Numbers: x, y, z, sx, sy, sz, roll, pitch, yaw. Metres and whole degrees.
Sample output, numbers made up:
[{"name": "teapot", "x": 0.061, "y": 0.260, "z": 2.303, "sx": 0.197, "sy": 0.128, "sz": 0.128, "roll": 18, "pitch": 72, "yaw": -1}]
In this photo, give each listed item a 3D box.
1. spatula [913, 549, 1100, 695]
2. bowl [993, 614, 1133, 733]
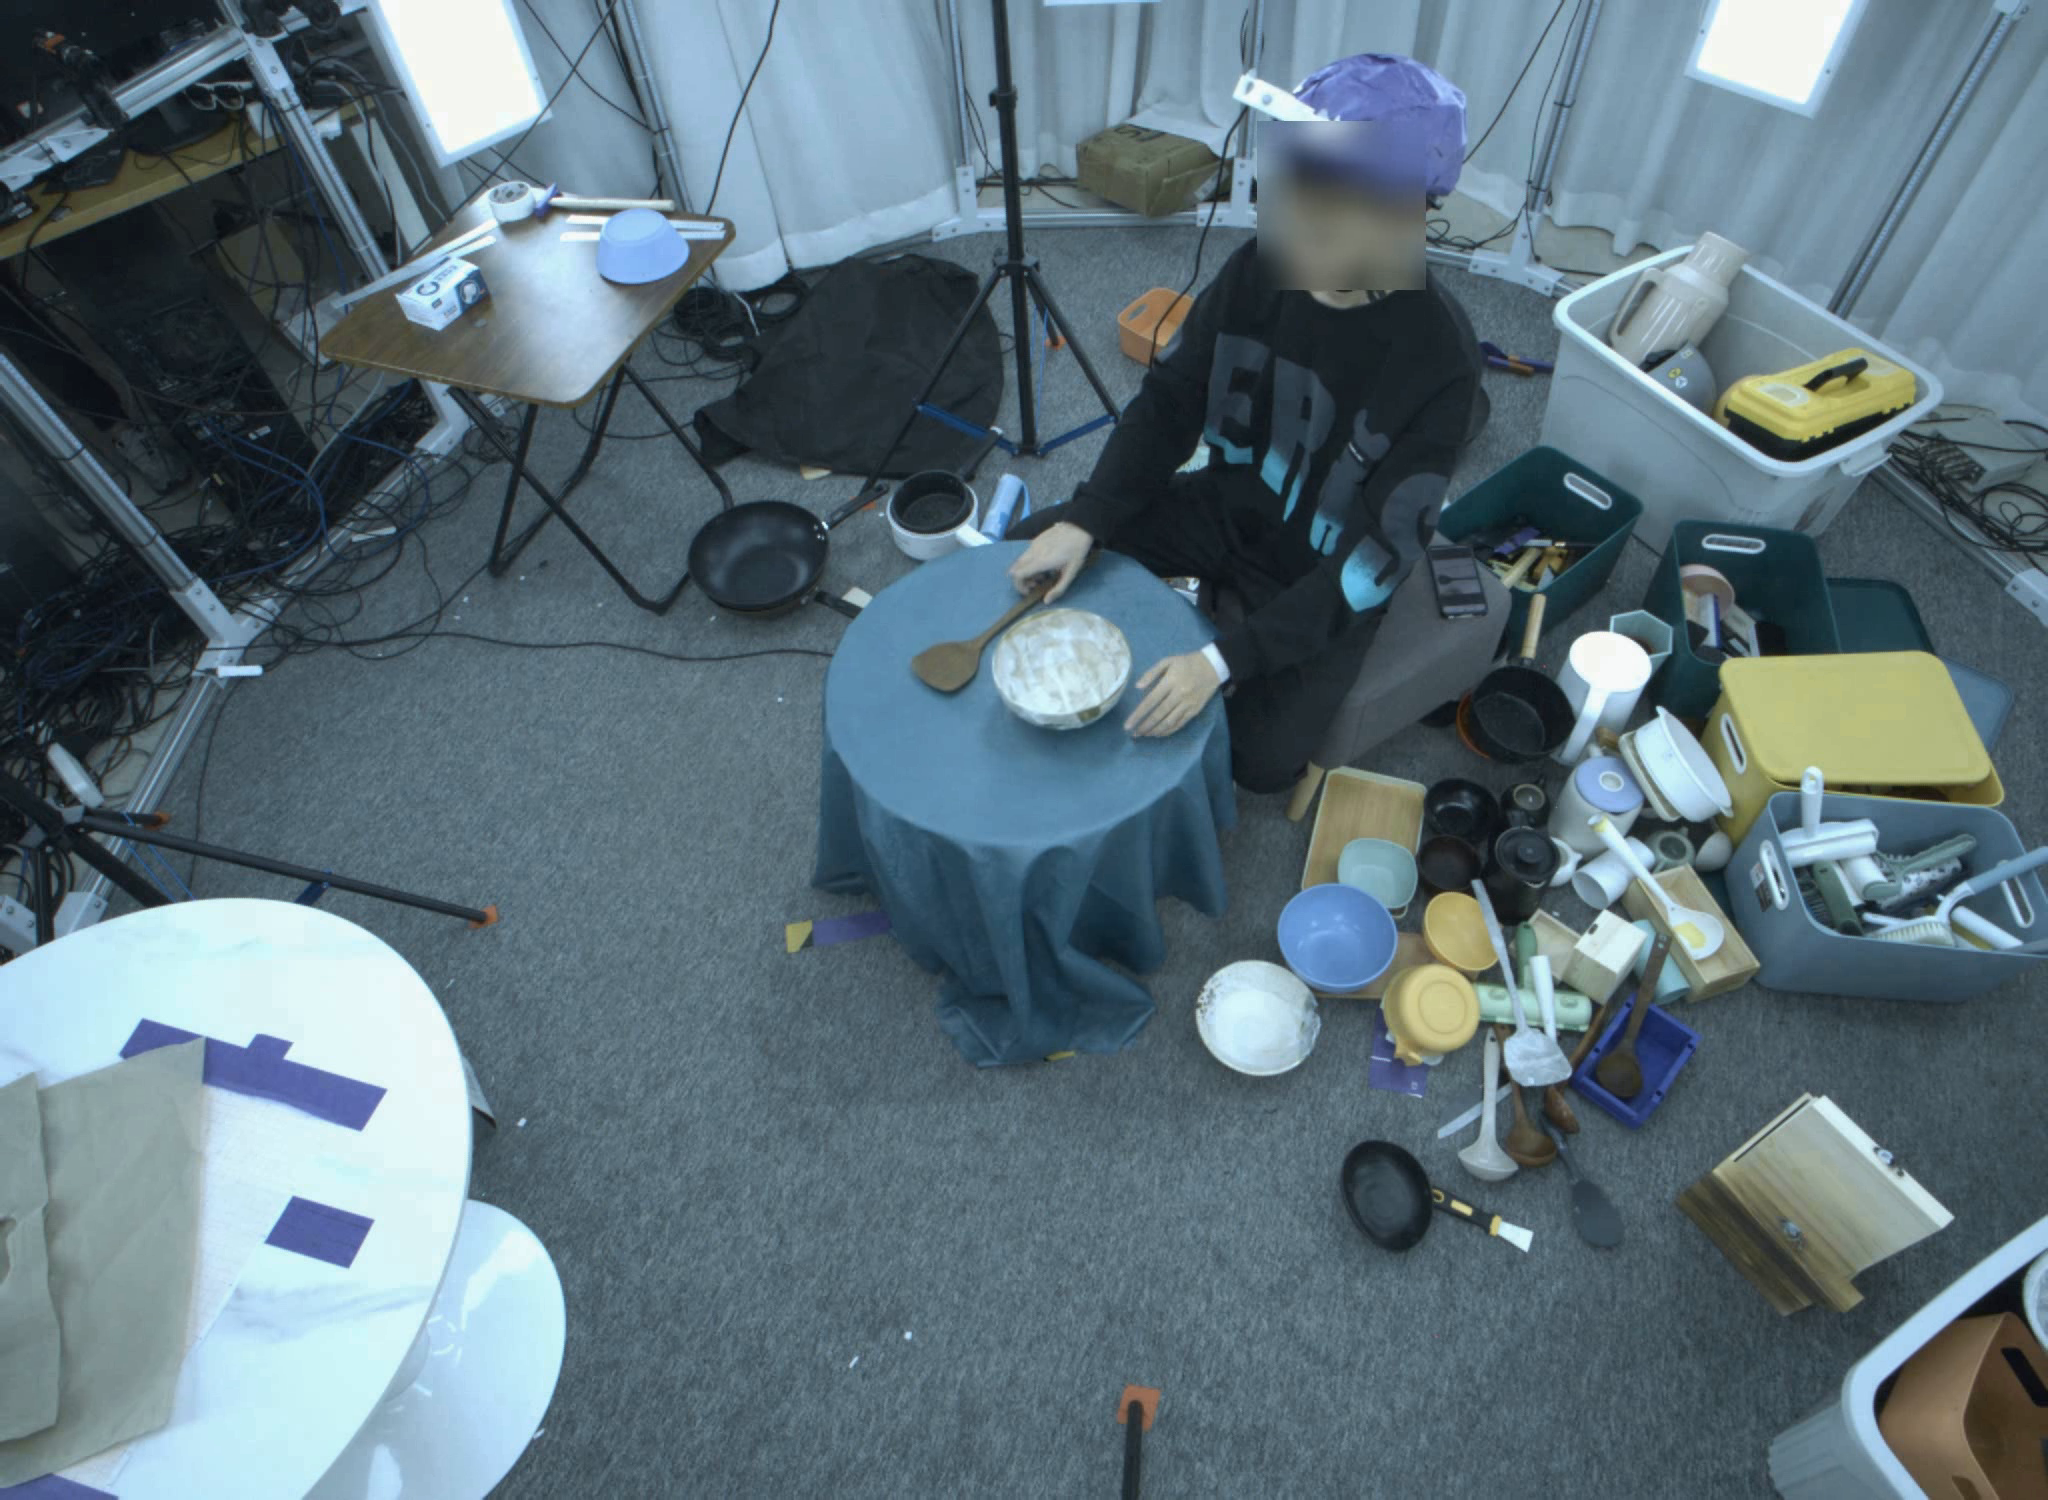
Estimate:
[{"name": "spatula", "x": -0.014, "y": -0.214, "z": 1.940, "sx": 0.094, "sy": 0.016, "sz": 0.388, "roll": 38, "pitch": 64, "yaw": 24}, {"name": "bowl", "x": 0.061, "y": -0.099, "z": 1.809, "sx": 0.214, "sy": 0.095, "sz": 0.212, "roll": 0, "pitch": 53, "yaw": 2}]
